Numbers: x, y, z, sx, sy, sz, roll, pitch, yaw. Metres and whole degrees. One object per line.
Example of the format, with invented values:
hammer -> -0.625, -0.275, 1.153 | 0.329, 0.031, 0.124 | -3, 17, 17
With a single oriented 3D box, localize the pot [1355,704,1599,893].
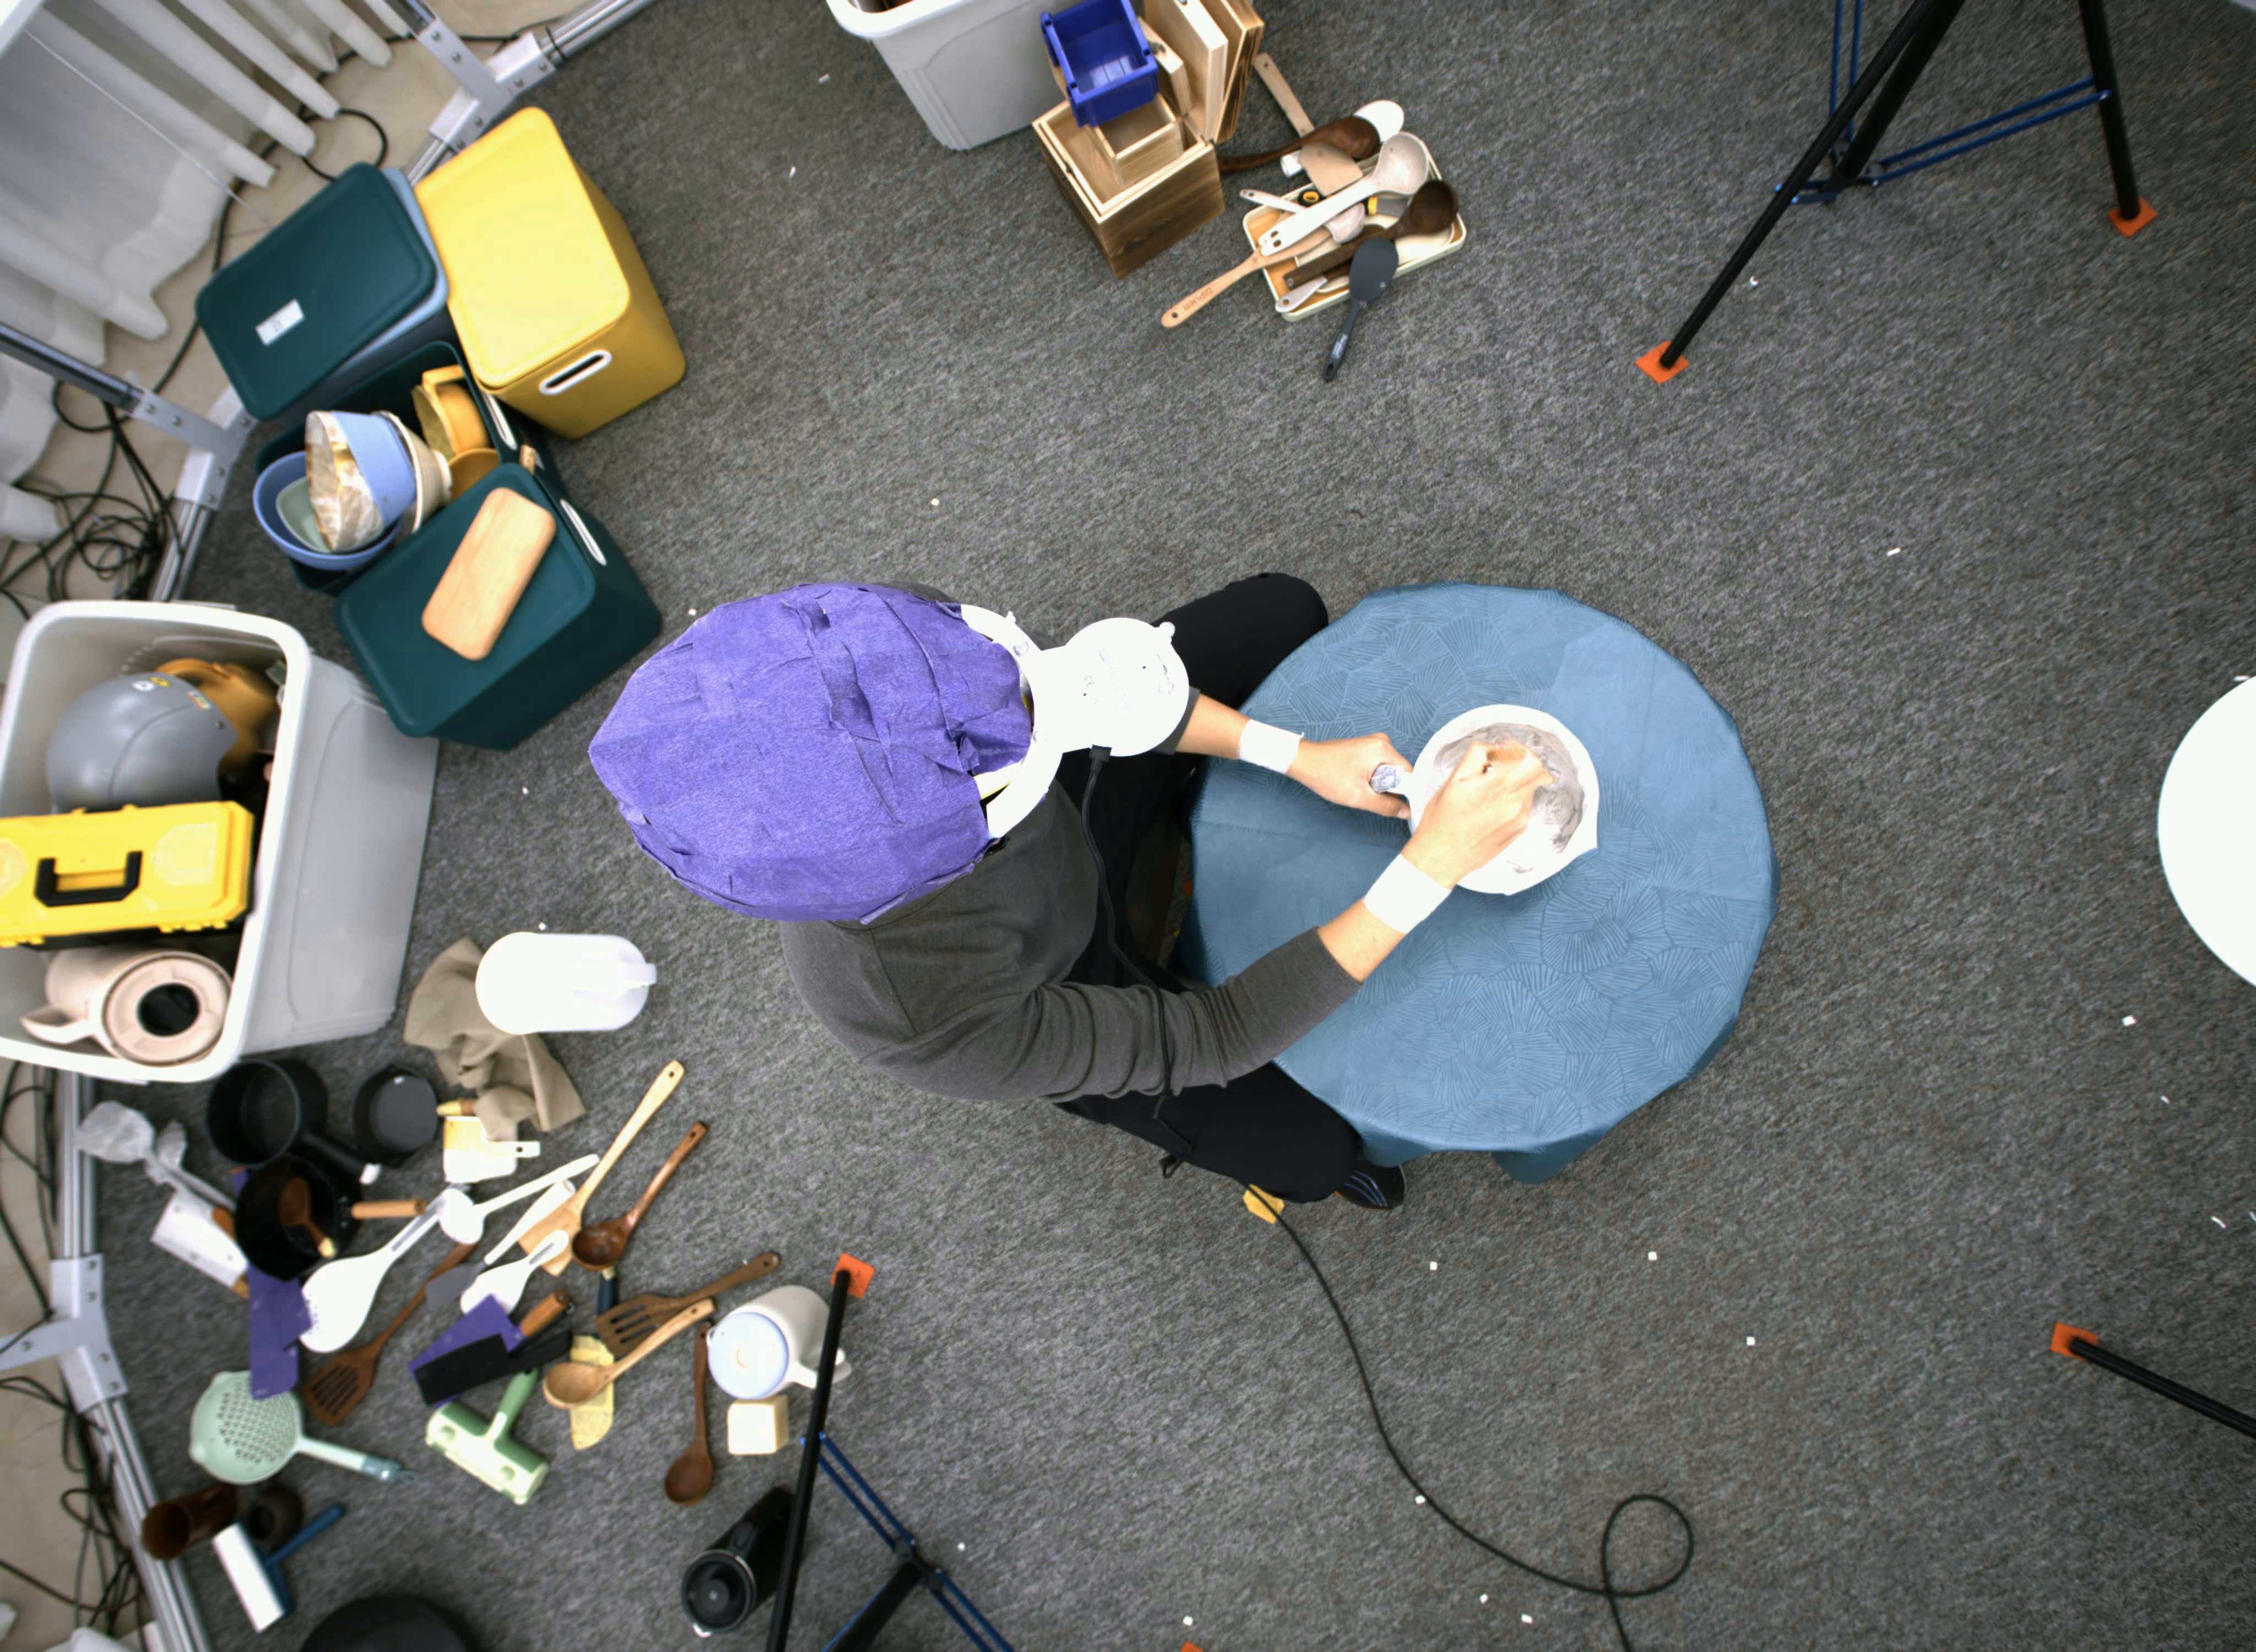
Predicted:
pot -> 0.344, -0.029, 1.382 | 0.234, 0.137, 0.178 | 10, 87, 11

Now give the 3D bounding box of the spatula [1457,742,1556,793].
spatula -> 0.333, -0.052, 1.199 | 0.096, 0.390, 0.018 | -6, 85, 14
